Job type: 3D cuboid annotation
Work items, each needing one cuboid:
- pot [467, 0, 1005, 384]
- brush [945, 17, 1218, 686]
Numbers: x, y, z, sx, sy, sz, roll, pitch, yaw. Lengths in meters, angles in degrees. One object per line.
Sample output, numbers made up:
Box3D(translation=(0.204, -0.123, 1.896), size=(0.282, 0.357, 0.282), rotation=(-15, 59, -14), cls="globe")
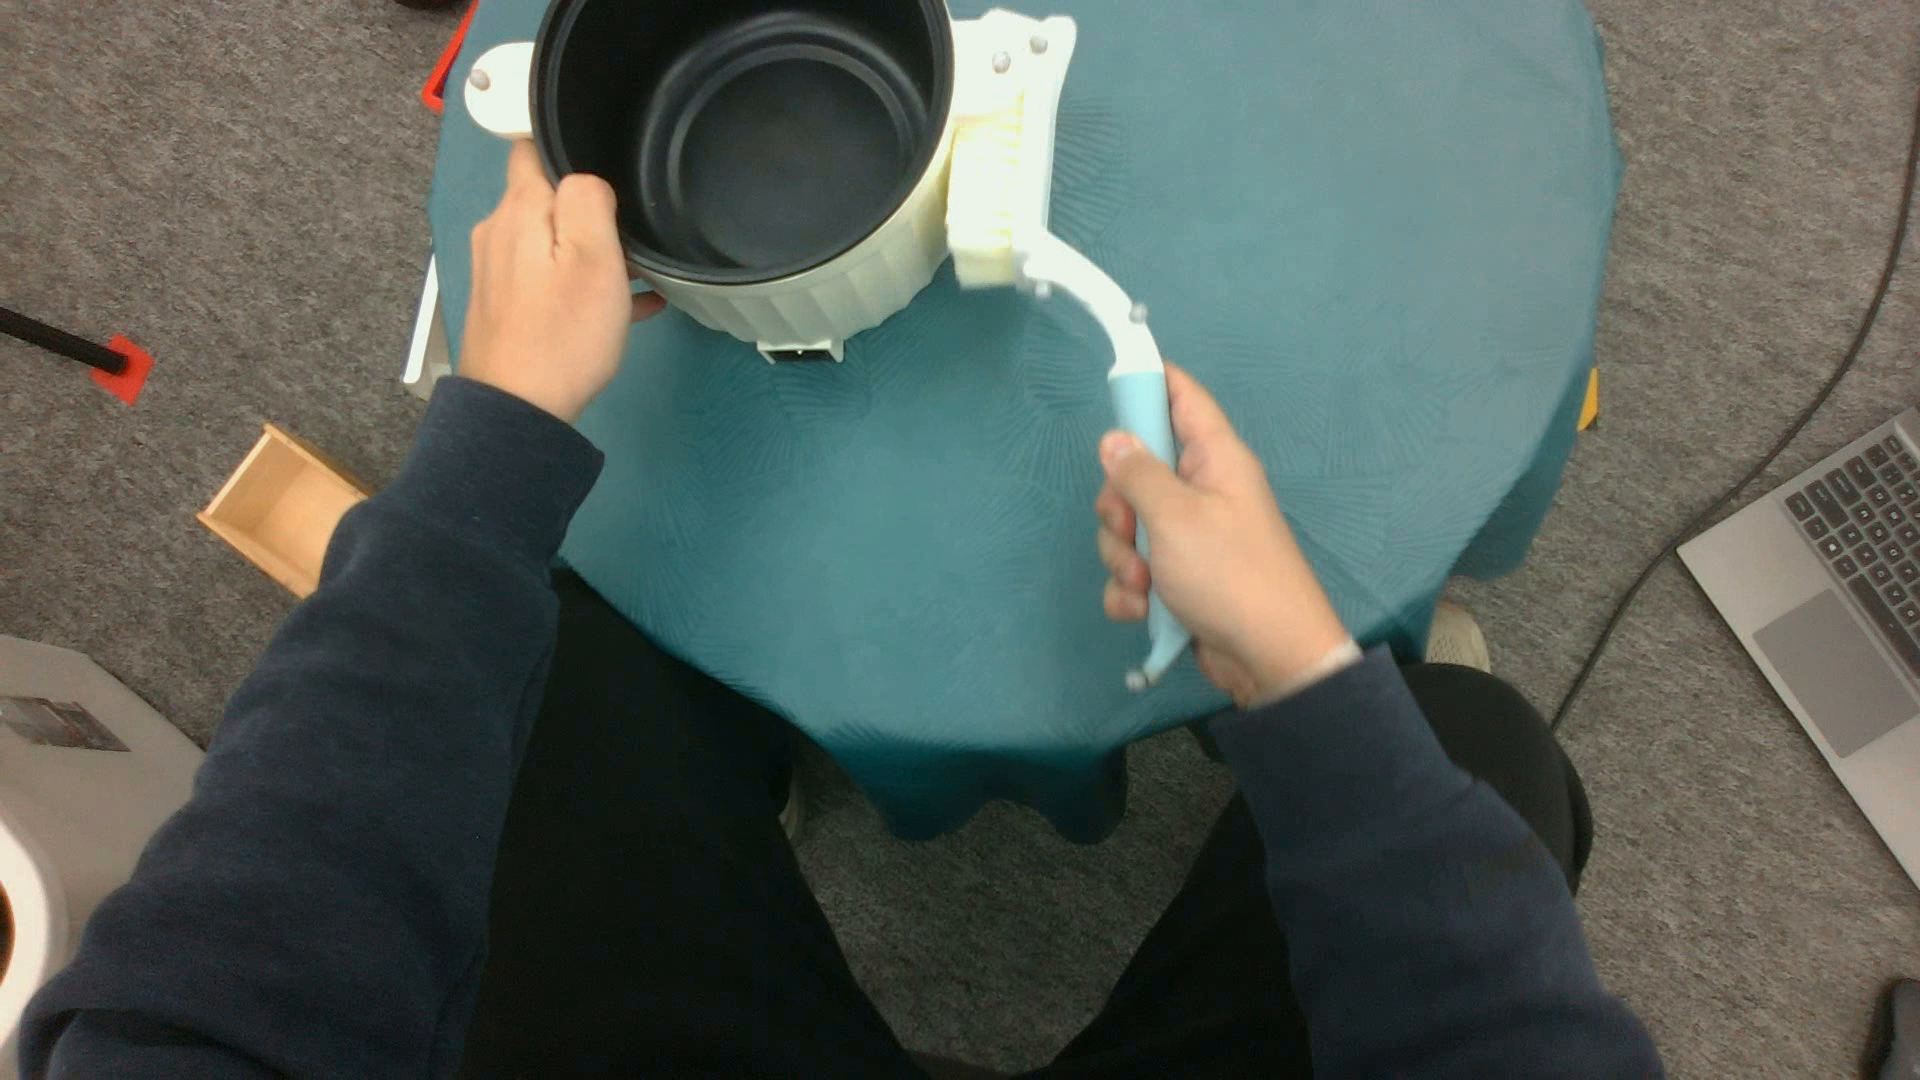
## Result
Box3D(translation=(-0.093, -0.180, 0.657), size=(0.240, 0.142, 0.190), rotation=(-4, 84, 6), cls="pot")
Box3D(translation=(0.032, -0.091, 0.604), size=(0.084, 0.083, 0.326), rotation=(-24, 67, 38), cls="brush")
